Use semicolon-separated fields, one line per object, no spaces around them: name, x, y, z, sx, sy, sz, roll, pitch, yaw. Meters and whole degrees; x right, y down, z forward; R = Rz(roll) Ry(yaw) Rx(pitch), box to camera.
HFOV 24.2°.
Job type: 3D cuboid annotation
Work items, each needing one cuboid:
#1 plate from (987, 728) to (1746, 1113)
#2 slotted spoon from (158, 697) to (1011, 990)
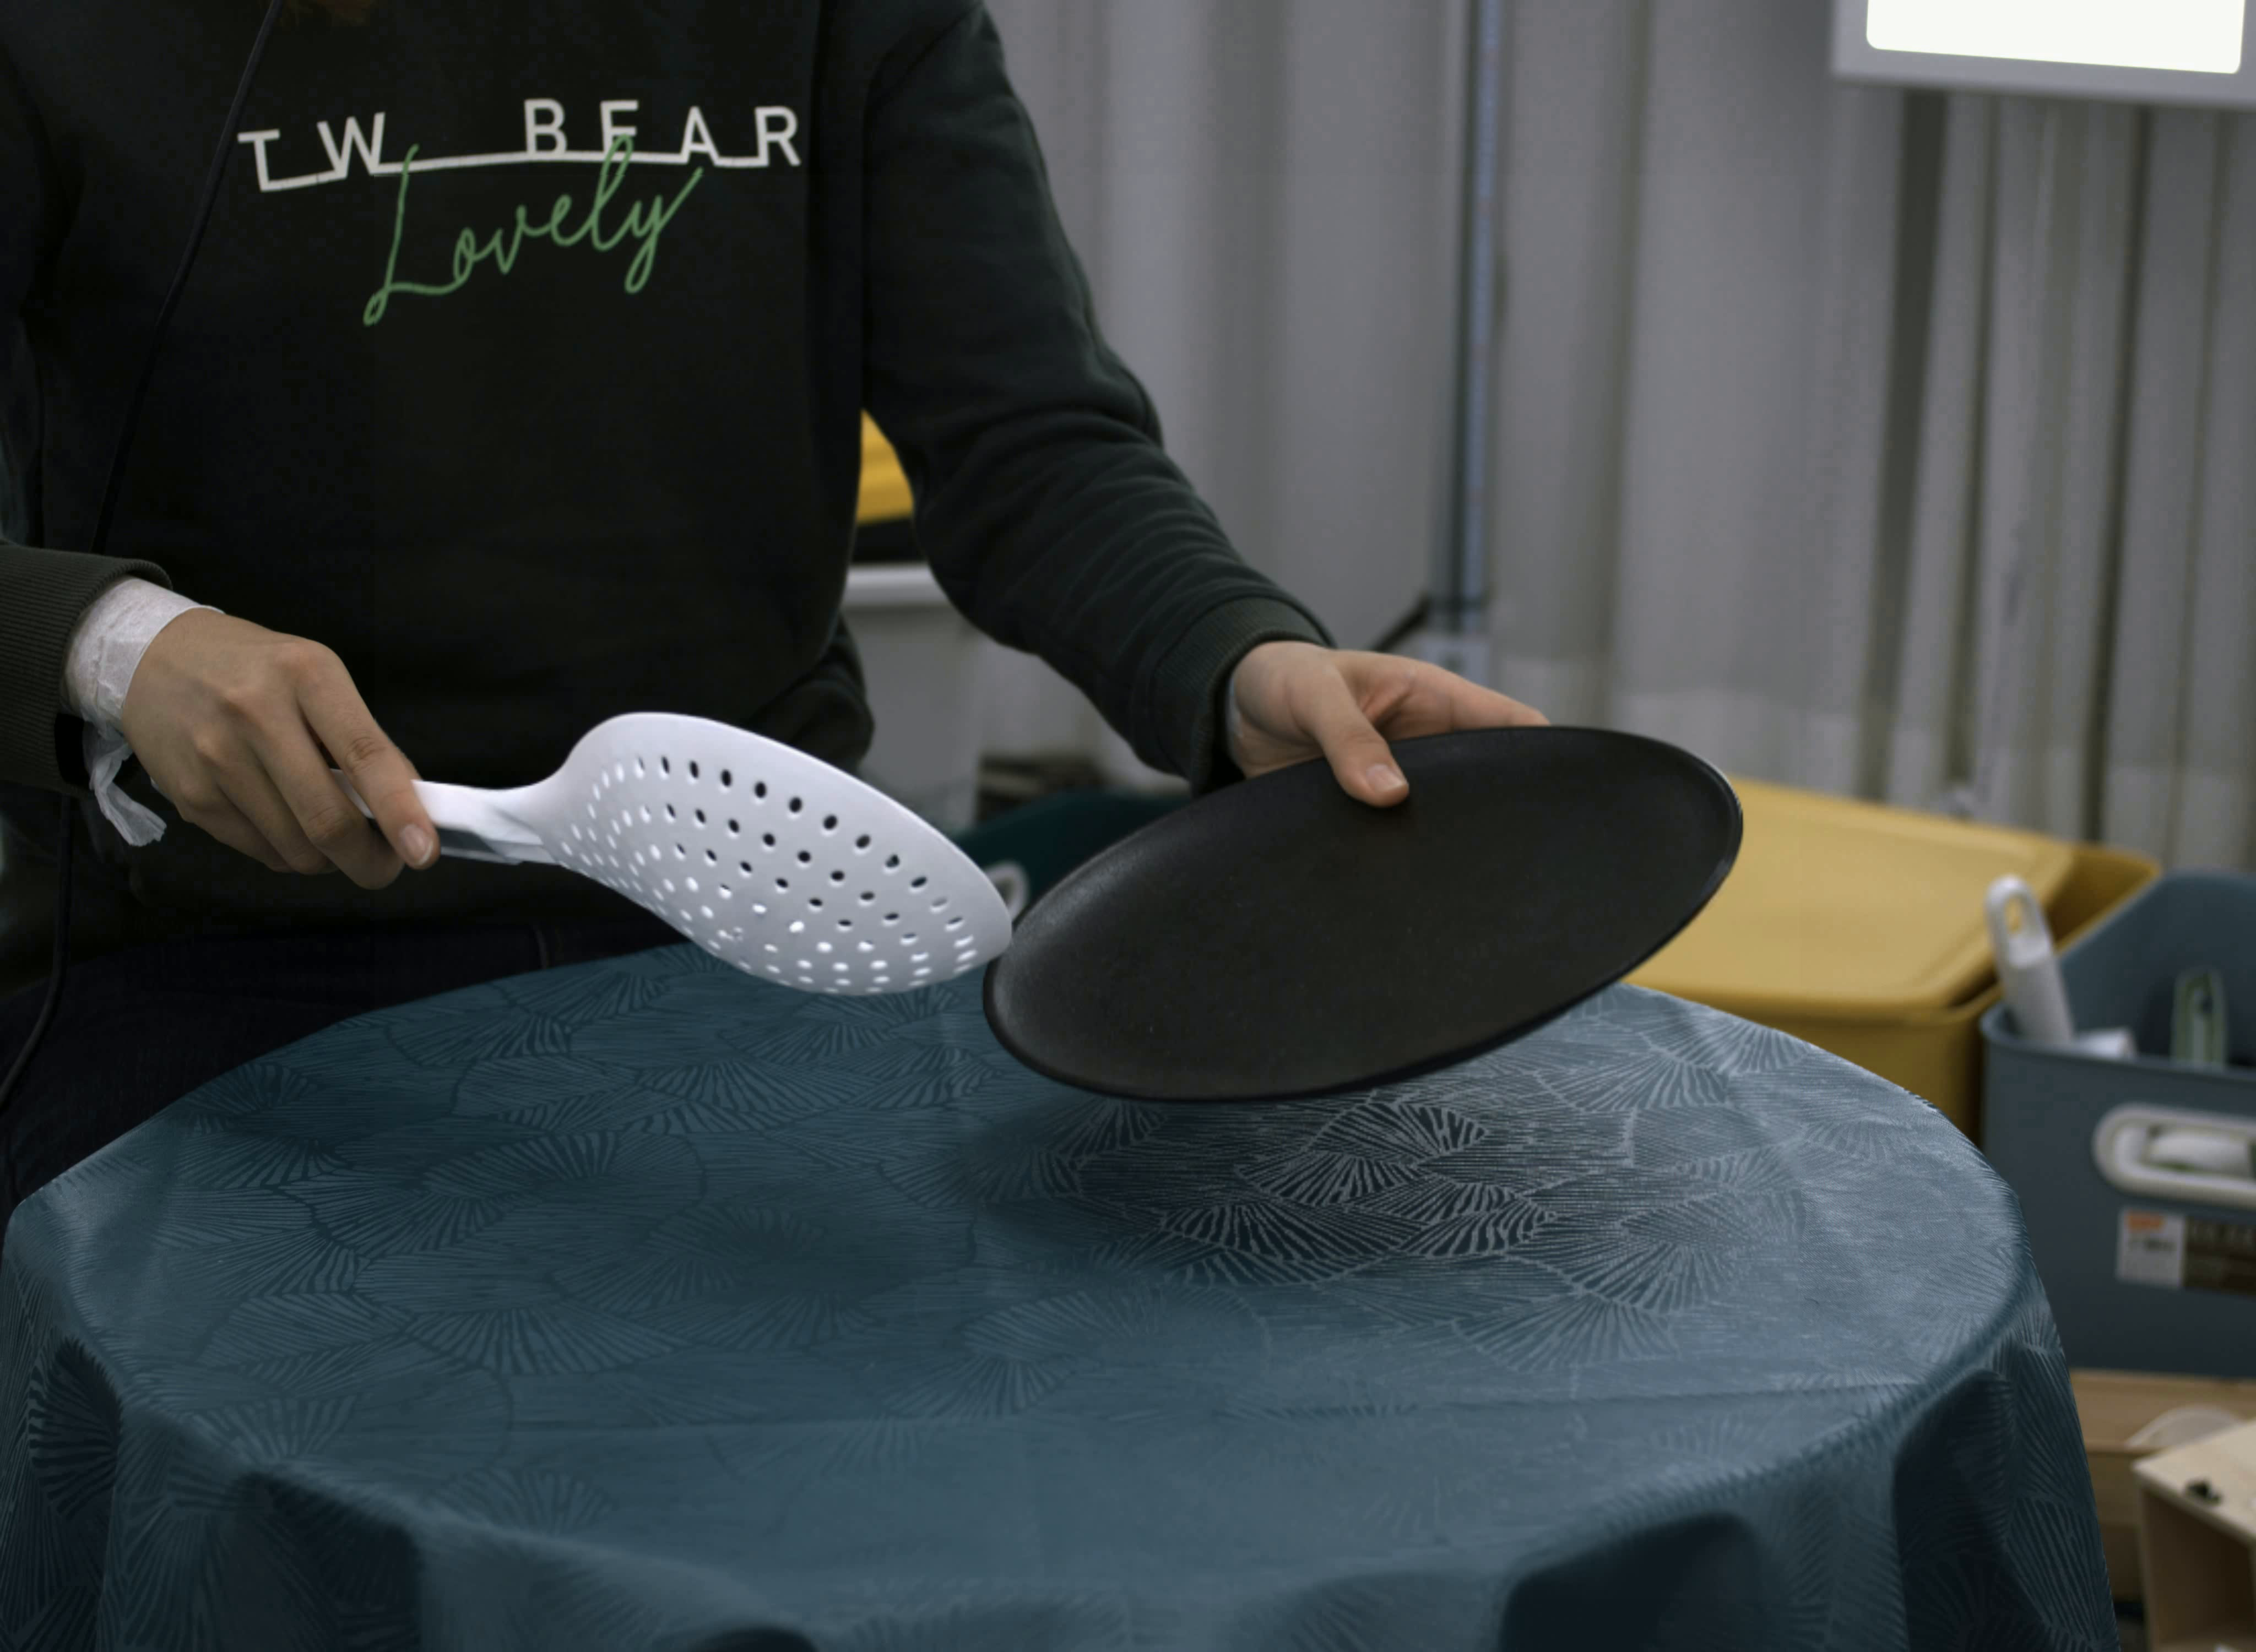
plate;0.075;0.034;1.636;0.243;0.024;0.242;-13;23;6
slotted spoon;-0.179;0.000;1.600;0.345;0.045;0.138;12;-25;43
